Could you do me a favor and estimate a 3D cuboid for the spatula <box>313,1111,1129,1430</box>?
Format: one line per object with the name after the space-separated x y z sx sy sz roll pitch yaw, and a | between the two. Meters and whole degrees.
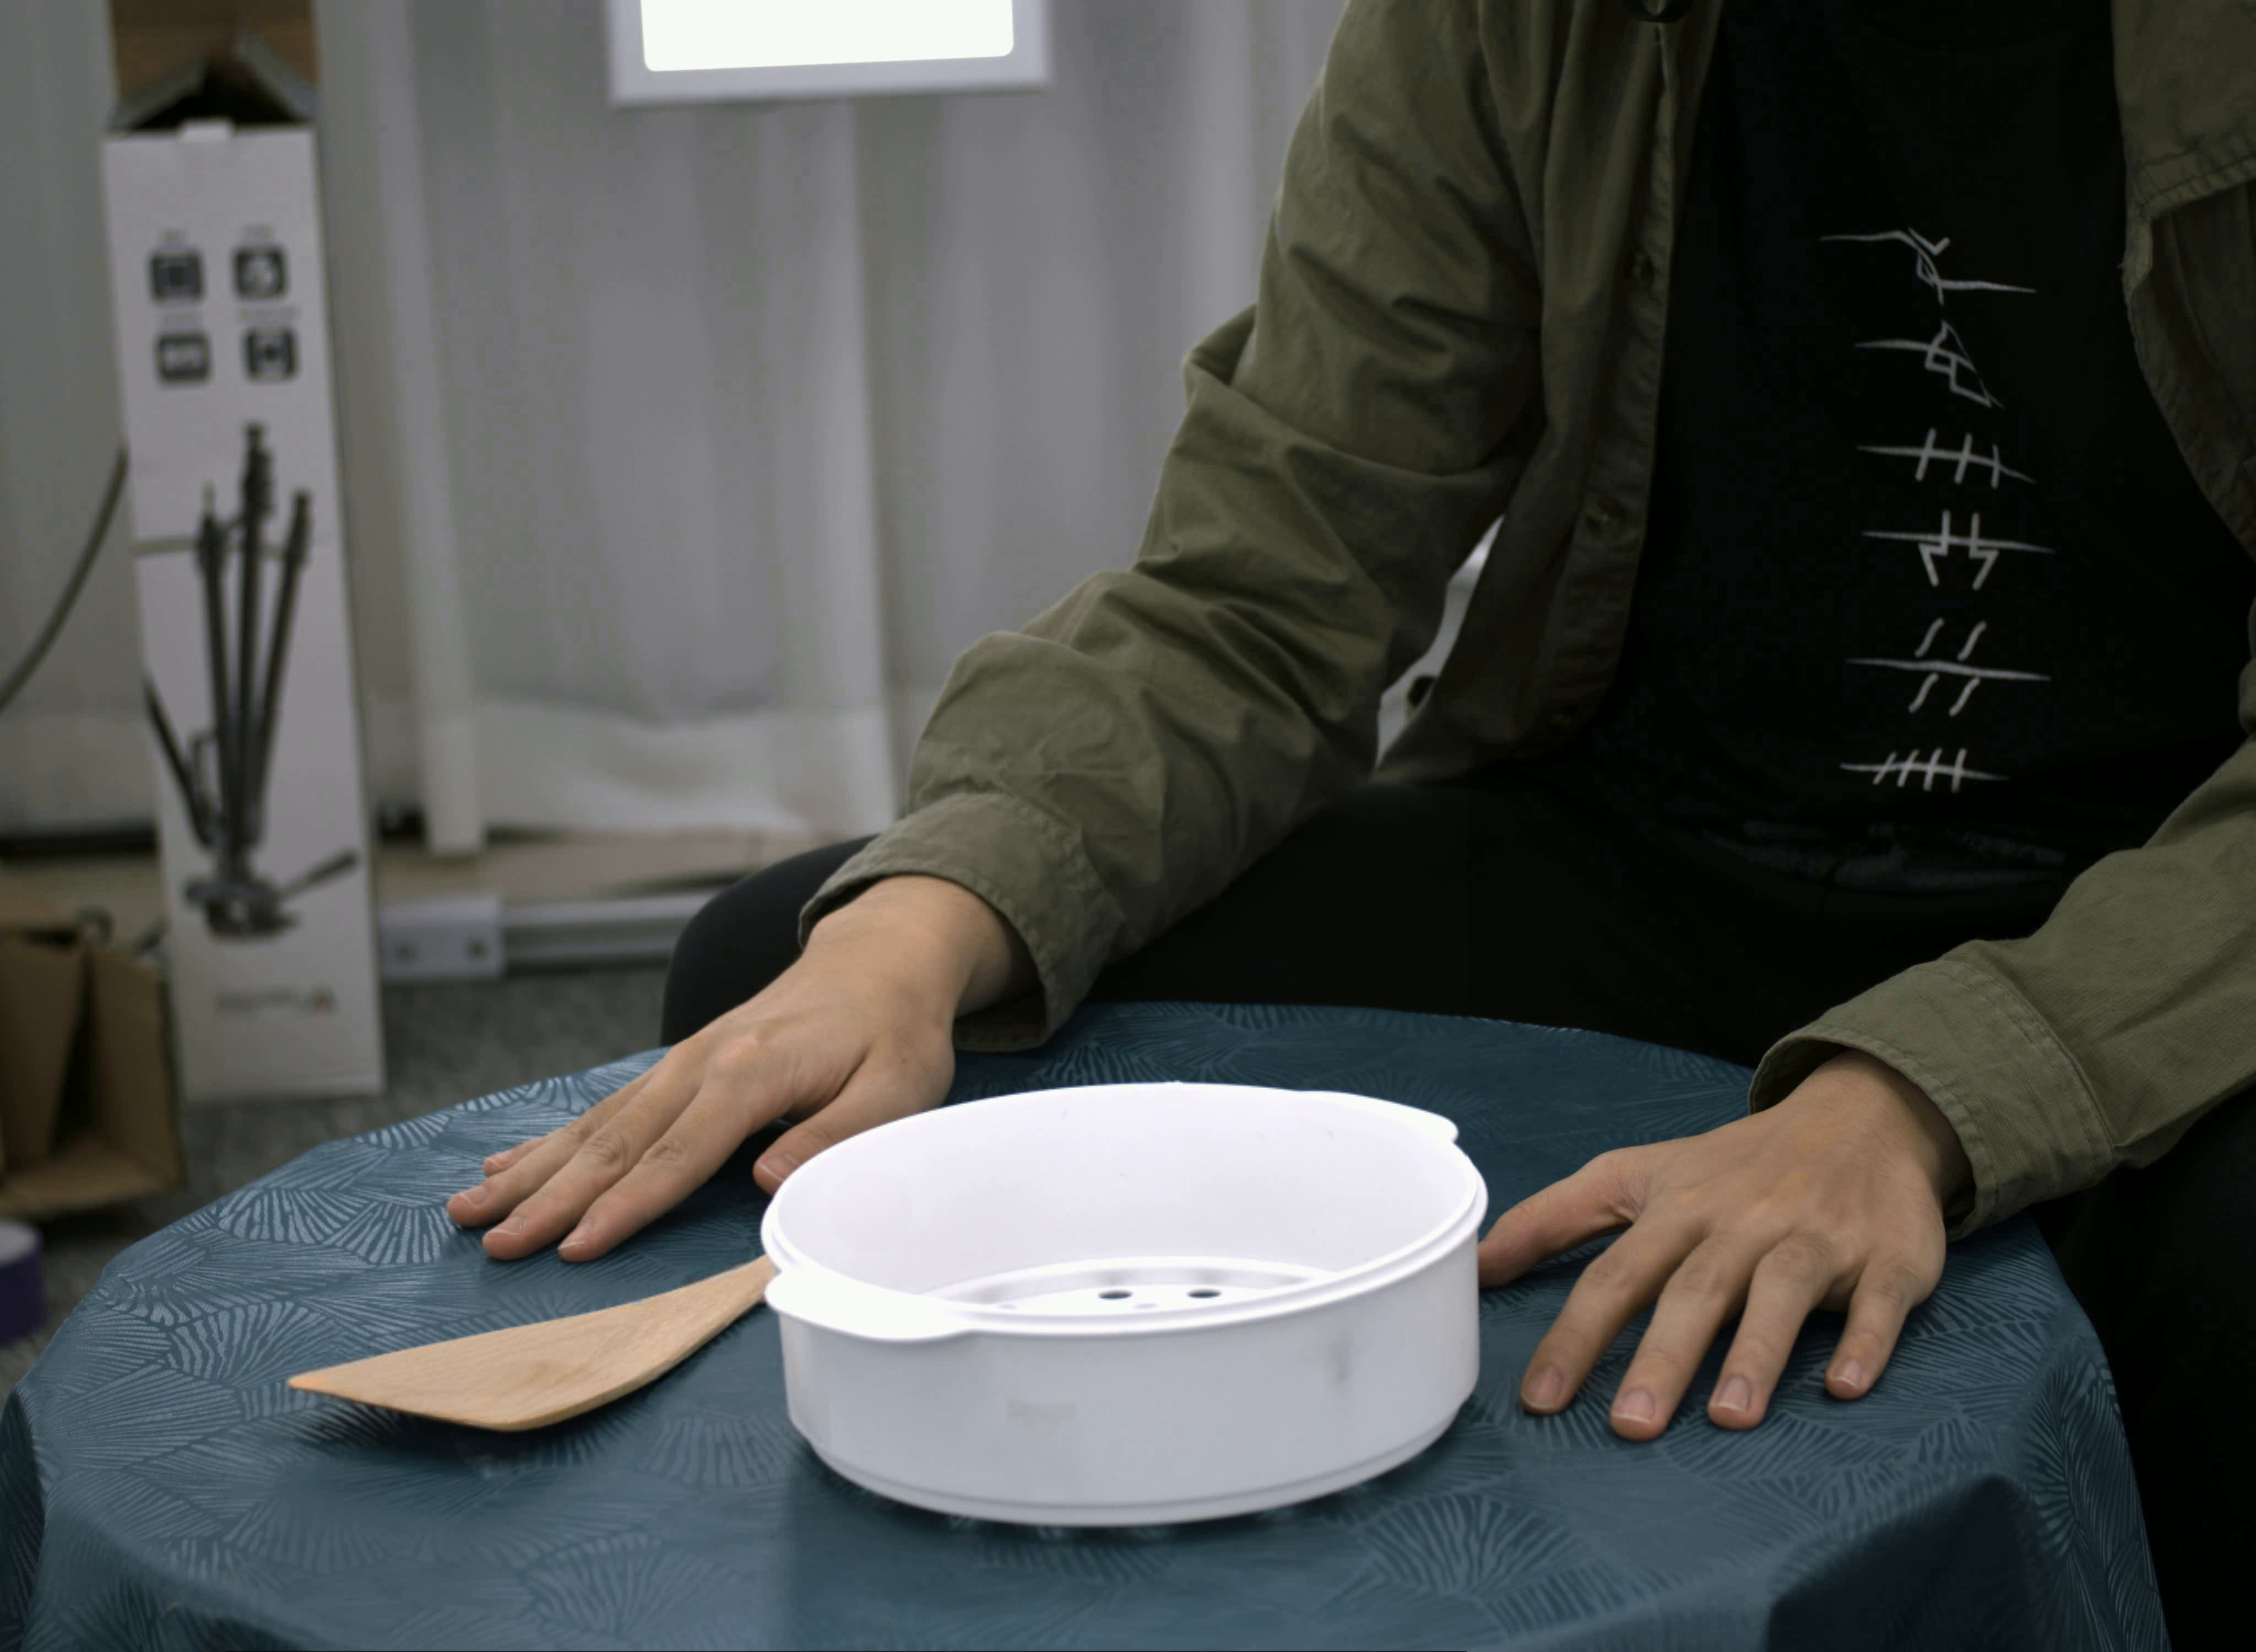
-0.102 0.130 1.647 0.080 0.016 0.327 9 20 38 | spatula

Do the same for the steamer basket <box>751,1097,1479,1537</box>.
-0.003 0.136 1.515 0.203 0.069 0.230 12 20 44 | steamer basket
